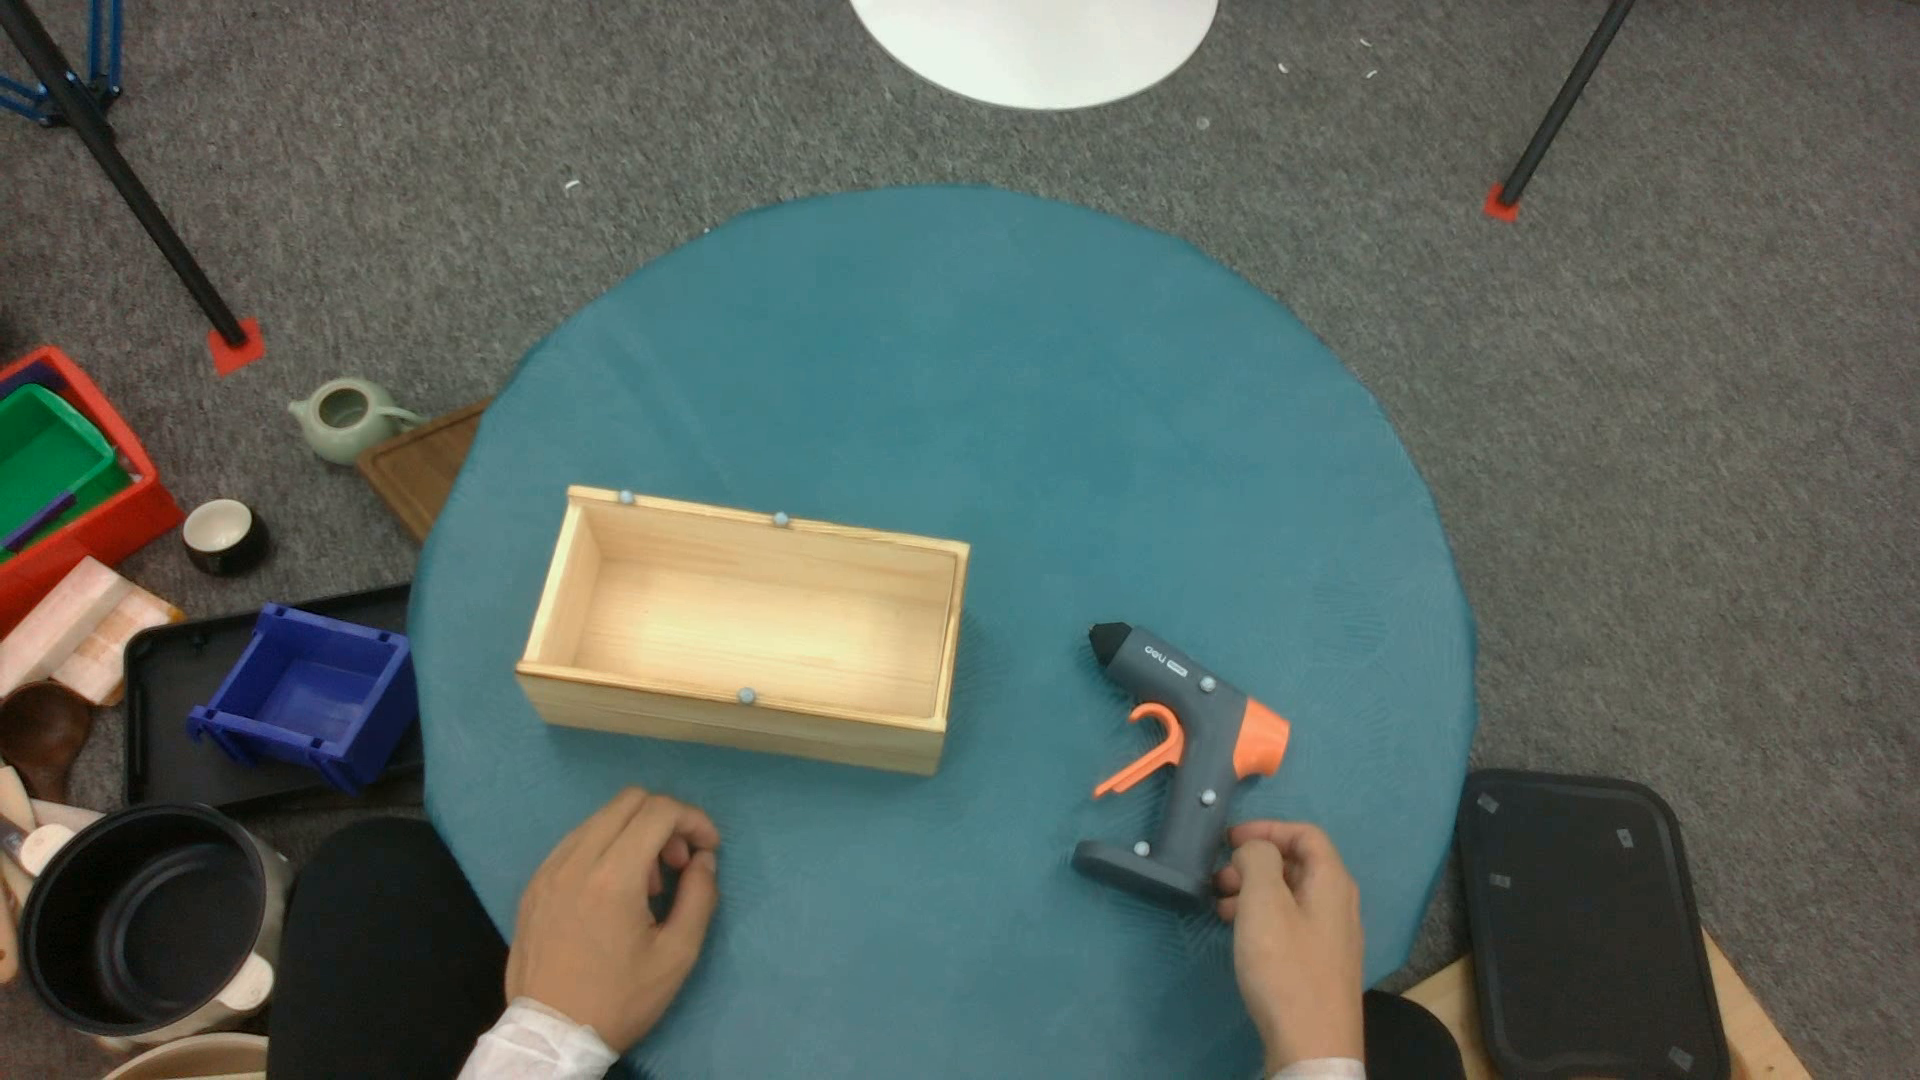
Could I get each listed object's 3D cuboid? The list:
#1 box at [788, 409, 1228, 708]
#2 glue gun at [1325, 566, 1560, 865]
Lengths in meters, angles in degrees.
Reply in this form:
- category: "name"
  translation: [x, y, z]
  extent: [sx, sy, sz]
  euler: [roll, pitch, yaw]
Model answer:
- category: "box"
  translation: [0.028, 0.010, 0.744]
  extent: [0.211, 0.080, 0.108]
  euler: [10, 69, 9]
- category: "glue gun"
  translation: [0.241, 0.087, 0.719]
  extent: [0.118, 0.041, 0.140]
  euler: [20, 68, 15]
